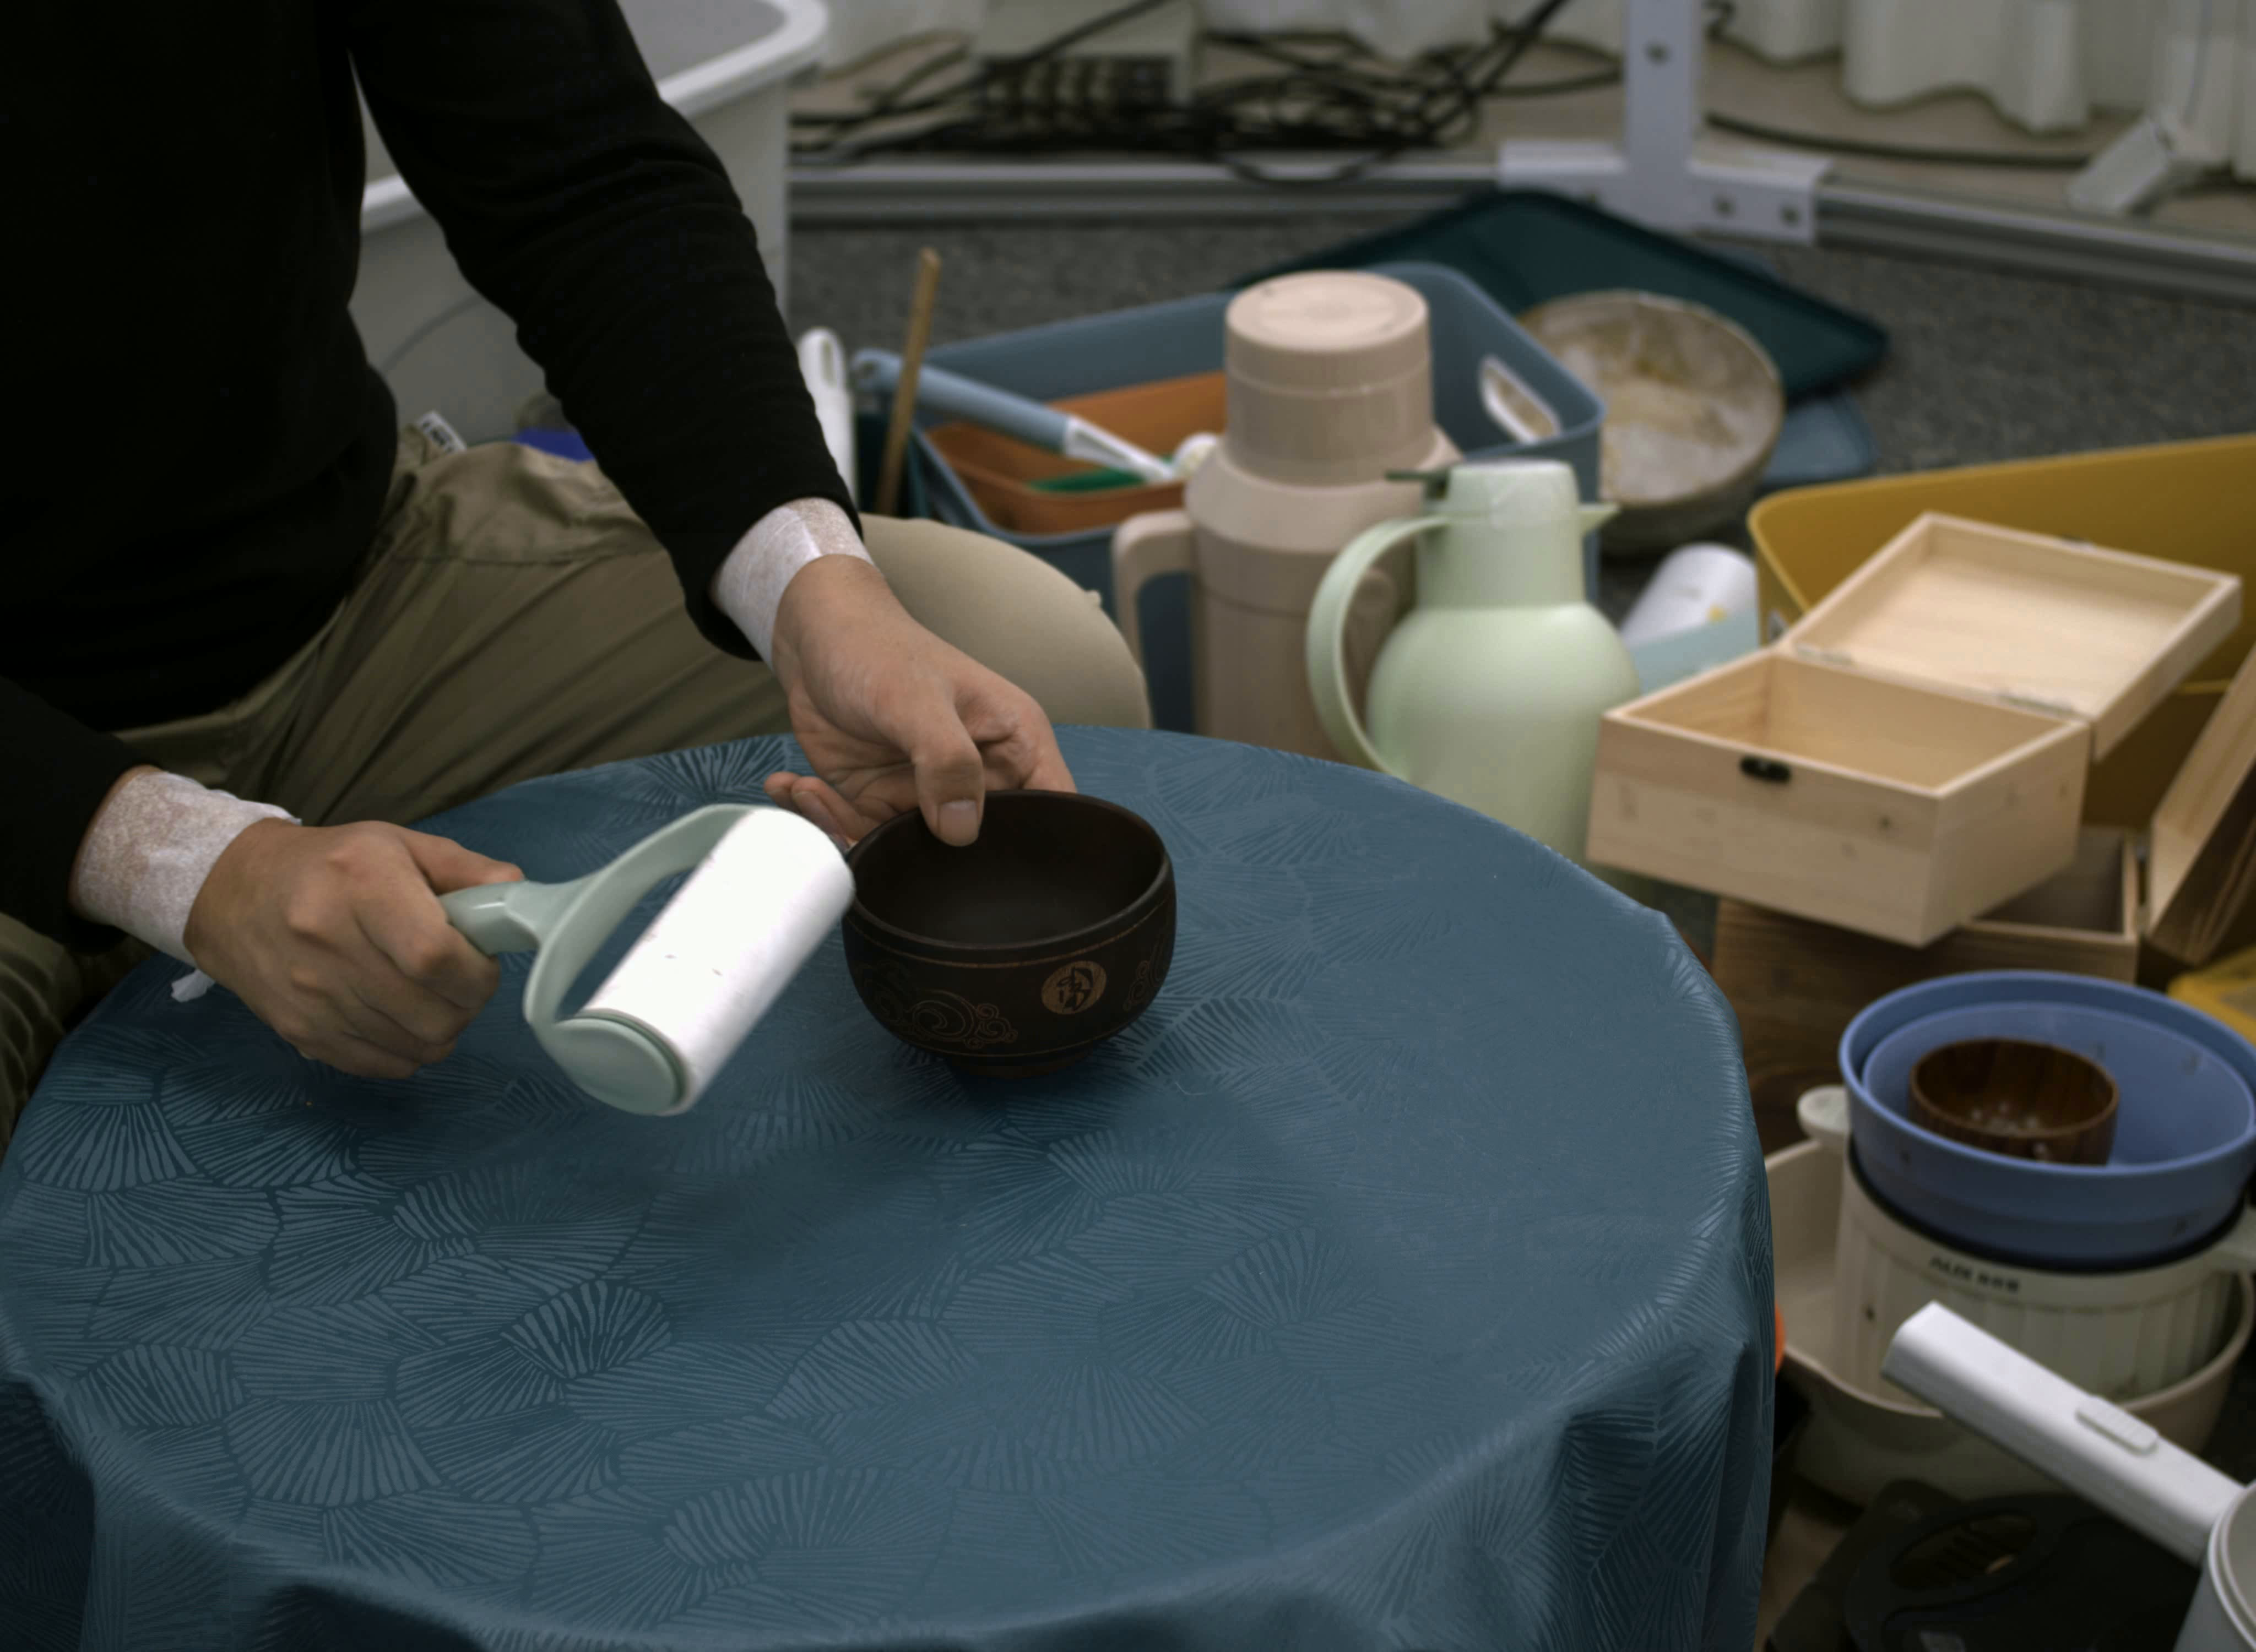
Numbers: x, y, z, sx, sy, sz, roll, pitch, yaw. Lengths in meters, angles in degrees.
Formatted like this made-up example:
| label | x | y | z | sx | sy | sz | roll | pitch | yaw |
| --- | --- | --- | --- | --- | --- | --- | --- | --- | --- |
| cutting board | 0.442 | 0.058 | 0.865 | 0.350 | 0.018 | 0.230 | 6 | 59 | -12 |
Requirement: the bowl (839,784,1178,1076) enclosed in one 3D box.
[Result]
| label | x | y | z | sx | sy | sz | roll | pitch | yaw |
| --- | --- | --- | --- | --- | --- | --- | --- | --- | --- |
| bowl | -0.040 | 0.043 | 1.941 | 0.117 | 0.069 | 0.120 | -3 | 27 | 2 |

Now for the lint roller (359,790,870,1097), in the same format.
| label | x | y | z | sx | sy | sz | roll | pitch | yaw |
| --- | --- | --- | --- | --- | --- | --- | --- | --- | --- |
| lint roller | -0.186 | 0.037 | 1.878 | 0.196 | 0.048 | 0.119 | 2 | 41 | 36 |
